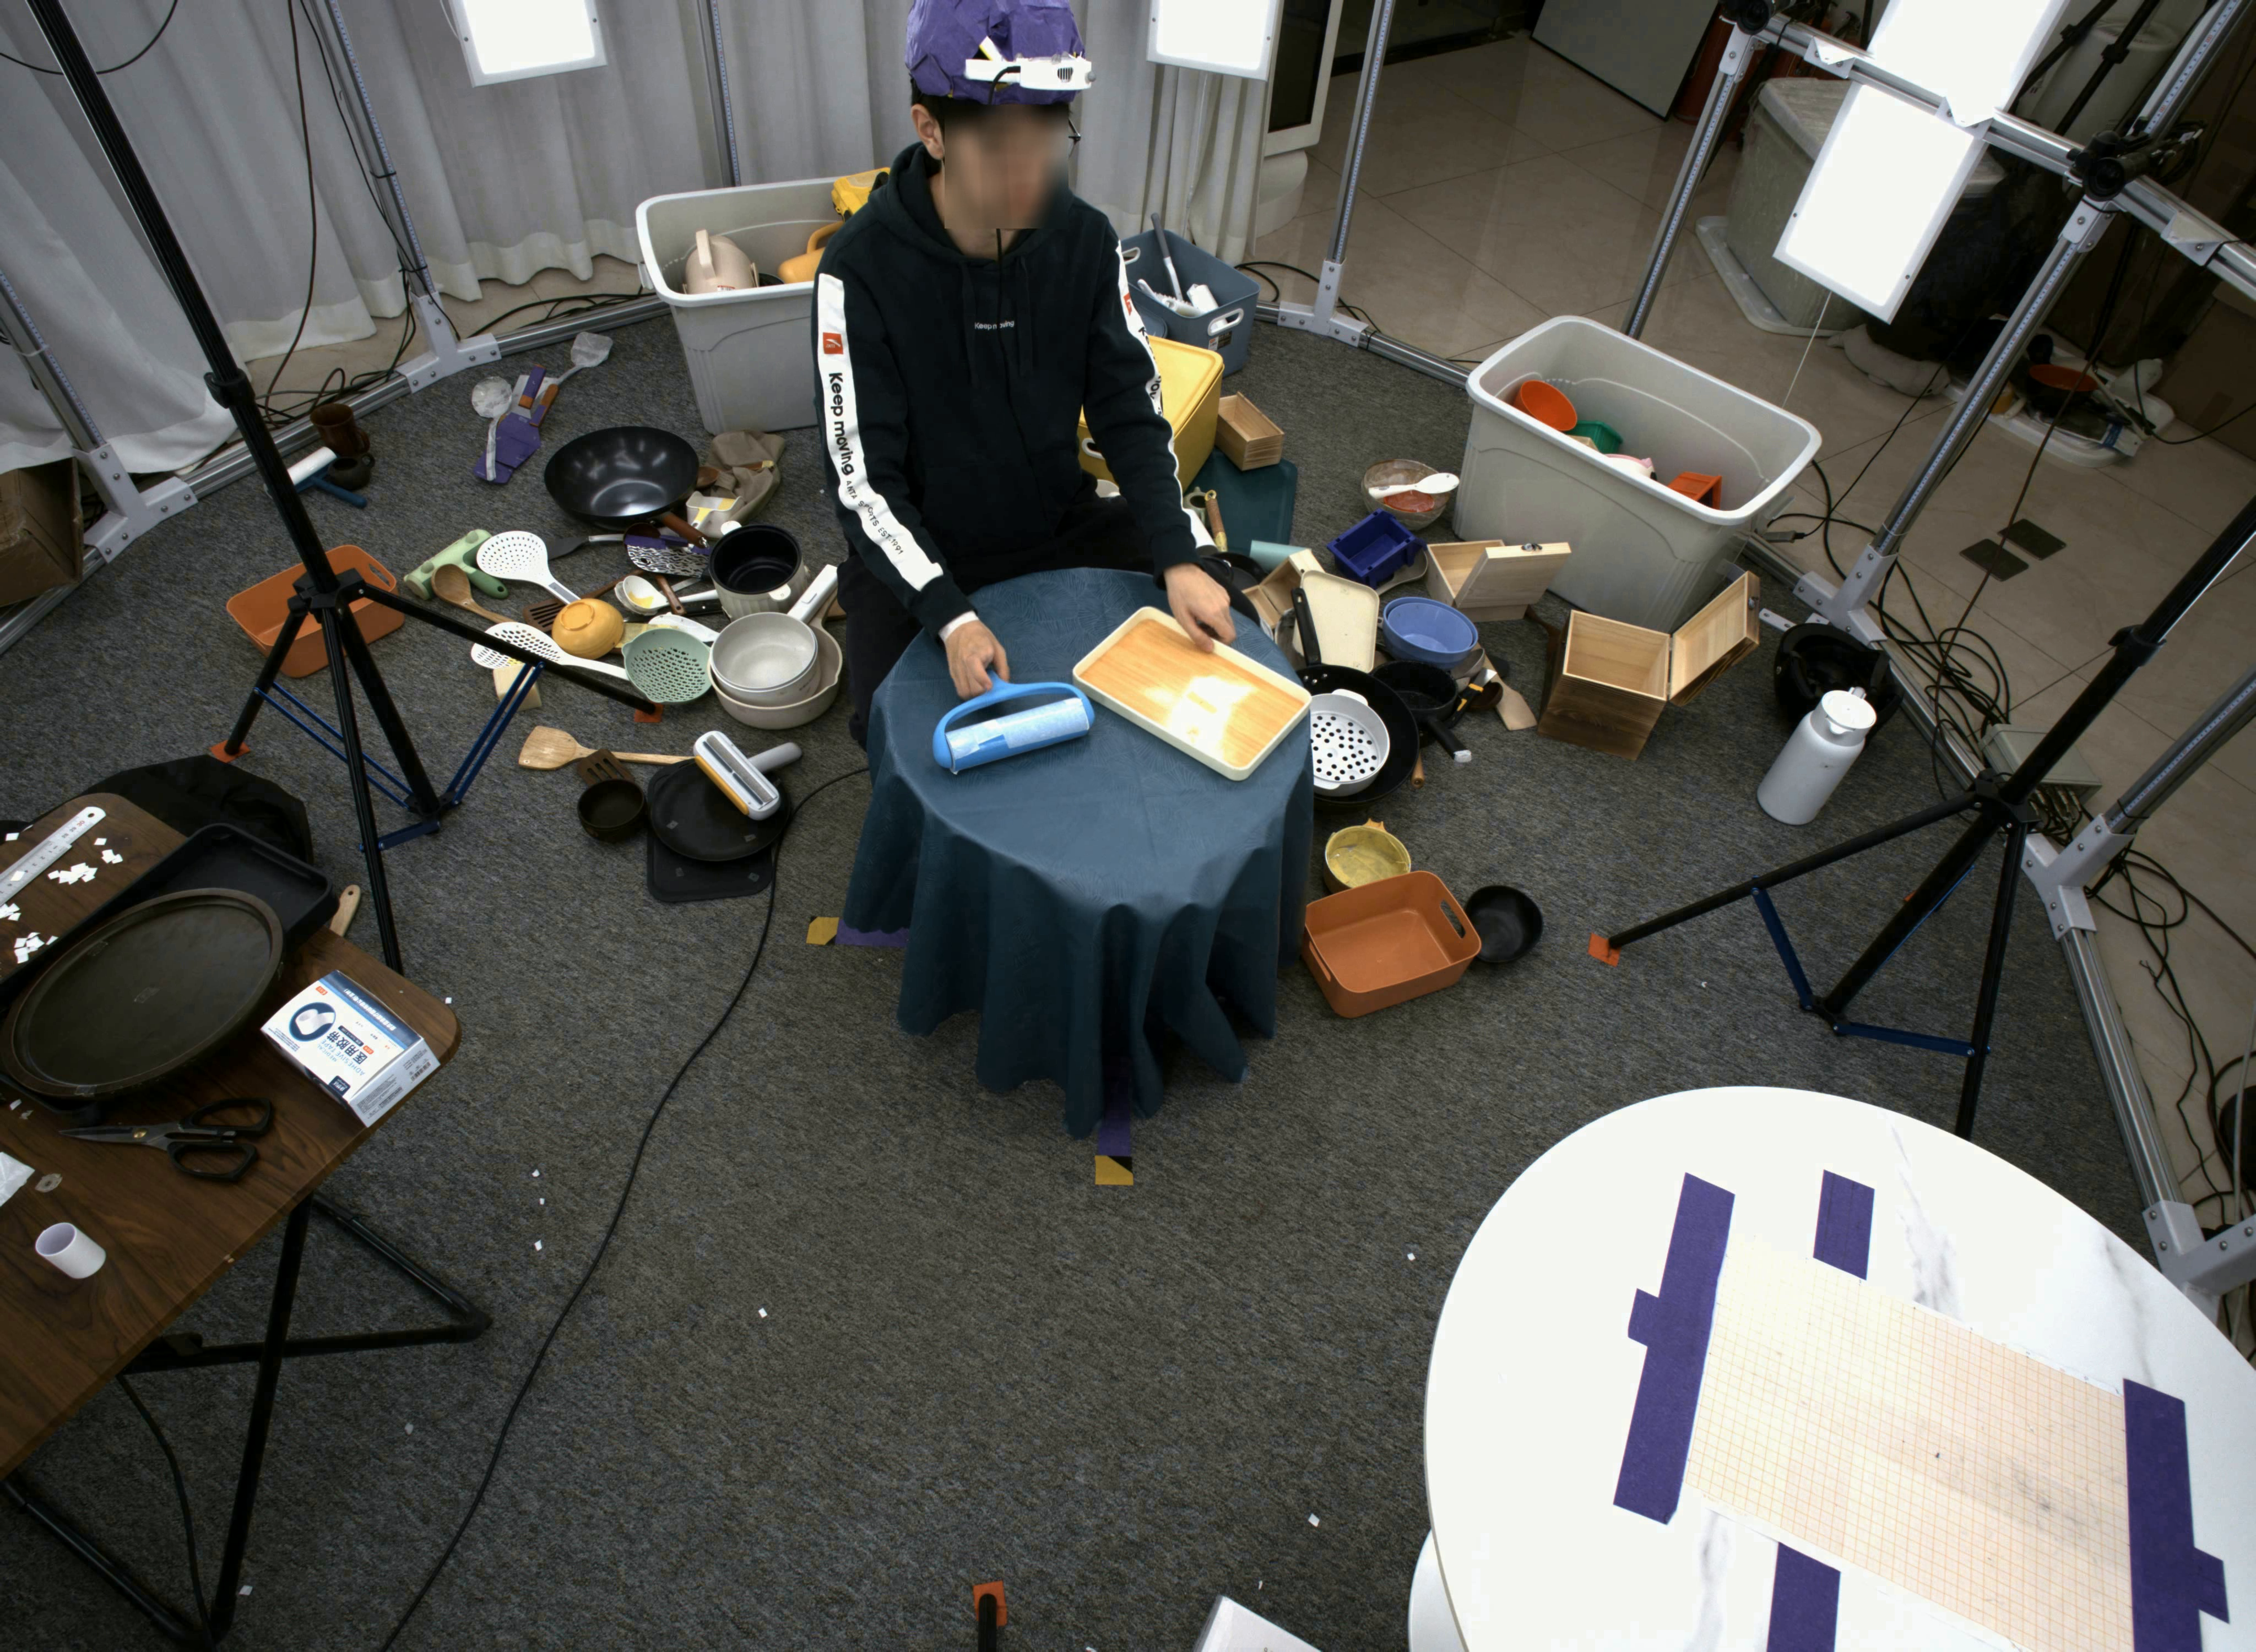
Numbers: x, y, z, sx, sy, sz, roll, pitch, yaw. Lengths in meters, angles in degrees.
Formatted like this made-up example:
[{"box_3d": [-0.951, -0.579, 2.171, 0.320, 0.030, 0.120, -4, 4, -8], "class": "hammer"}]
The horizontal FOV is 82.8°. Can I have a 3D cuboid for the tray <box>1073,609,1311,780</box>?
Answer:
[{"box_3d": [0.090, -0.192, 1.822, 0.304, 0.027, 0.194, 31, 55, 22], "class": "tray"}]

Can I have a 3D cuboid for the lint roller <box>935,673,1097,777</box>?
[{"box_3d": [-0.176, -0.164, 1.763, 0.229, 0.066, 0.184, -22, 55, -18], "class": "lint roller"}]
